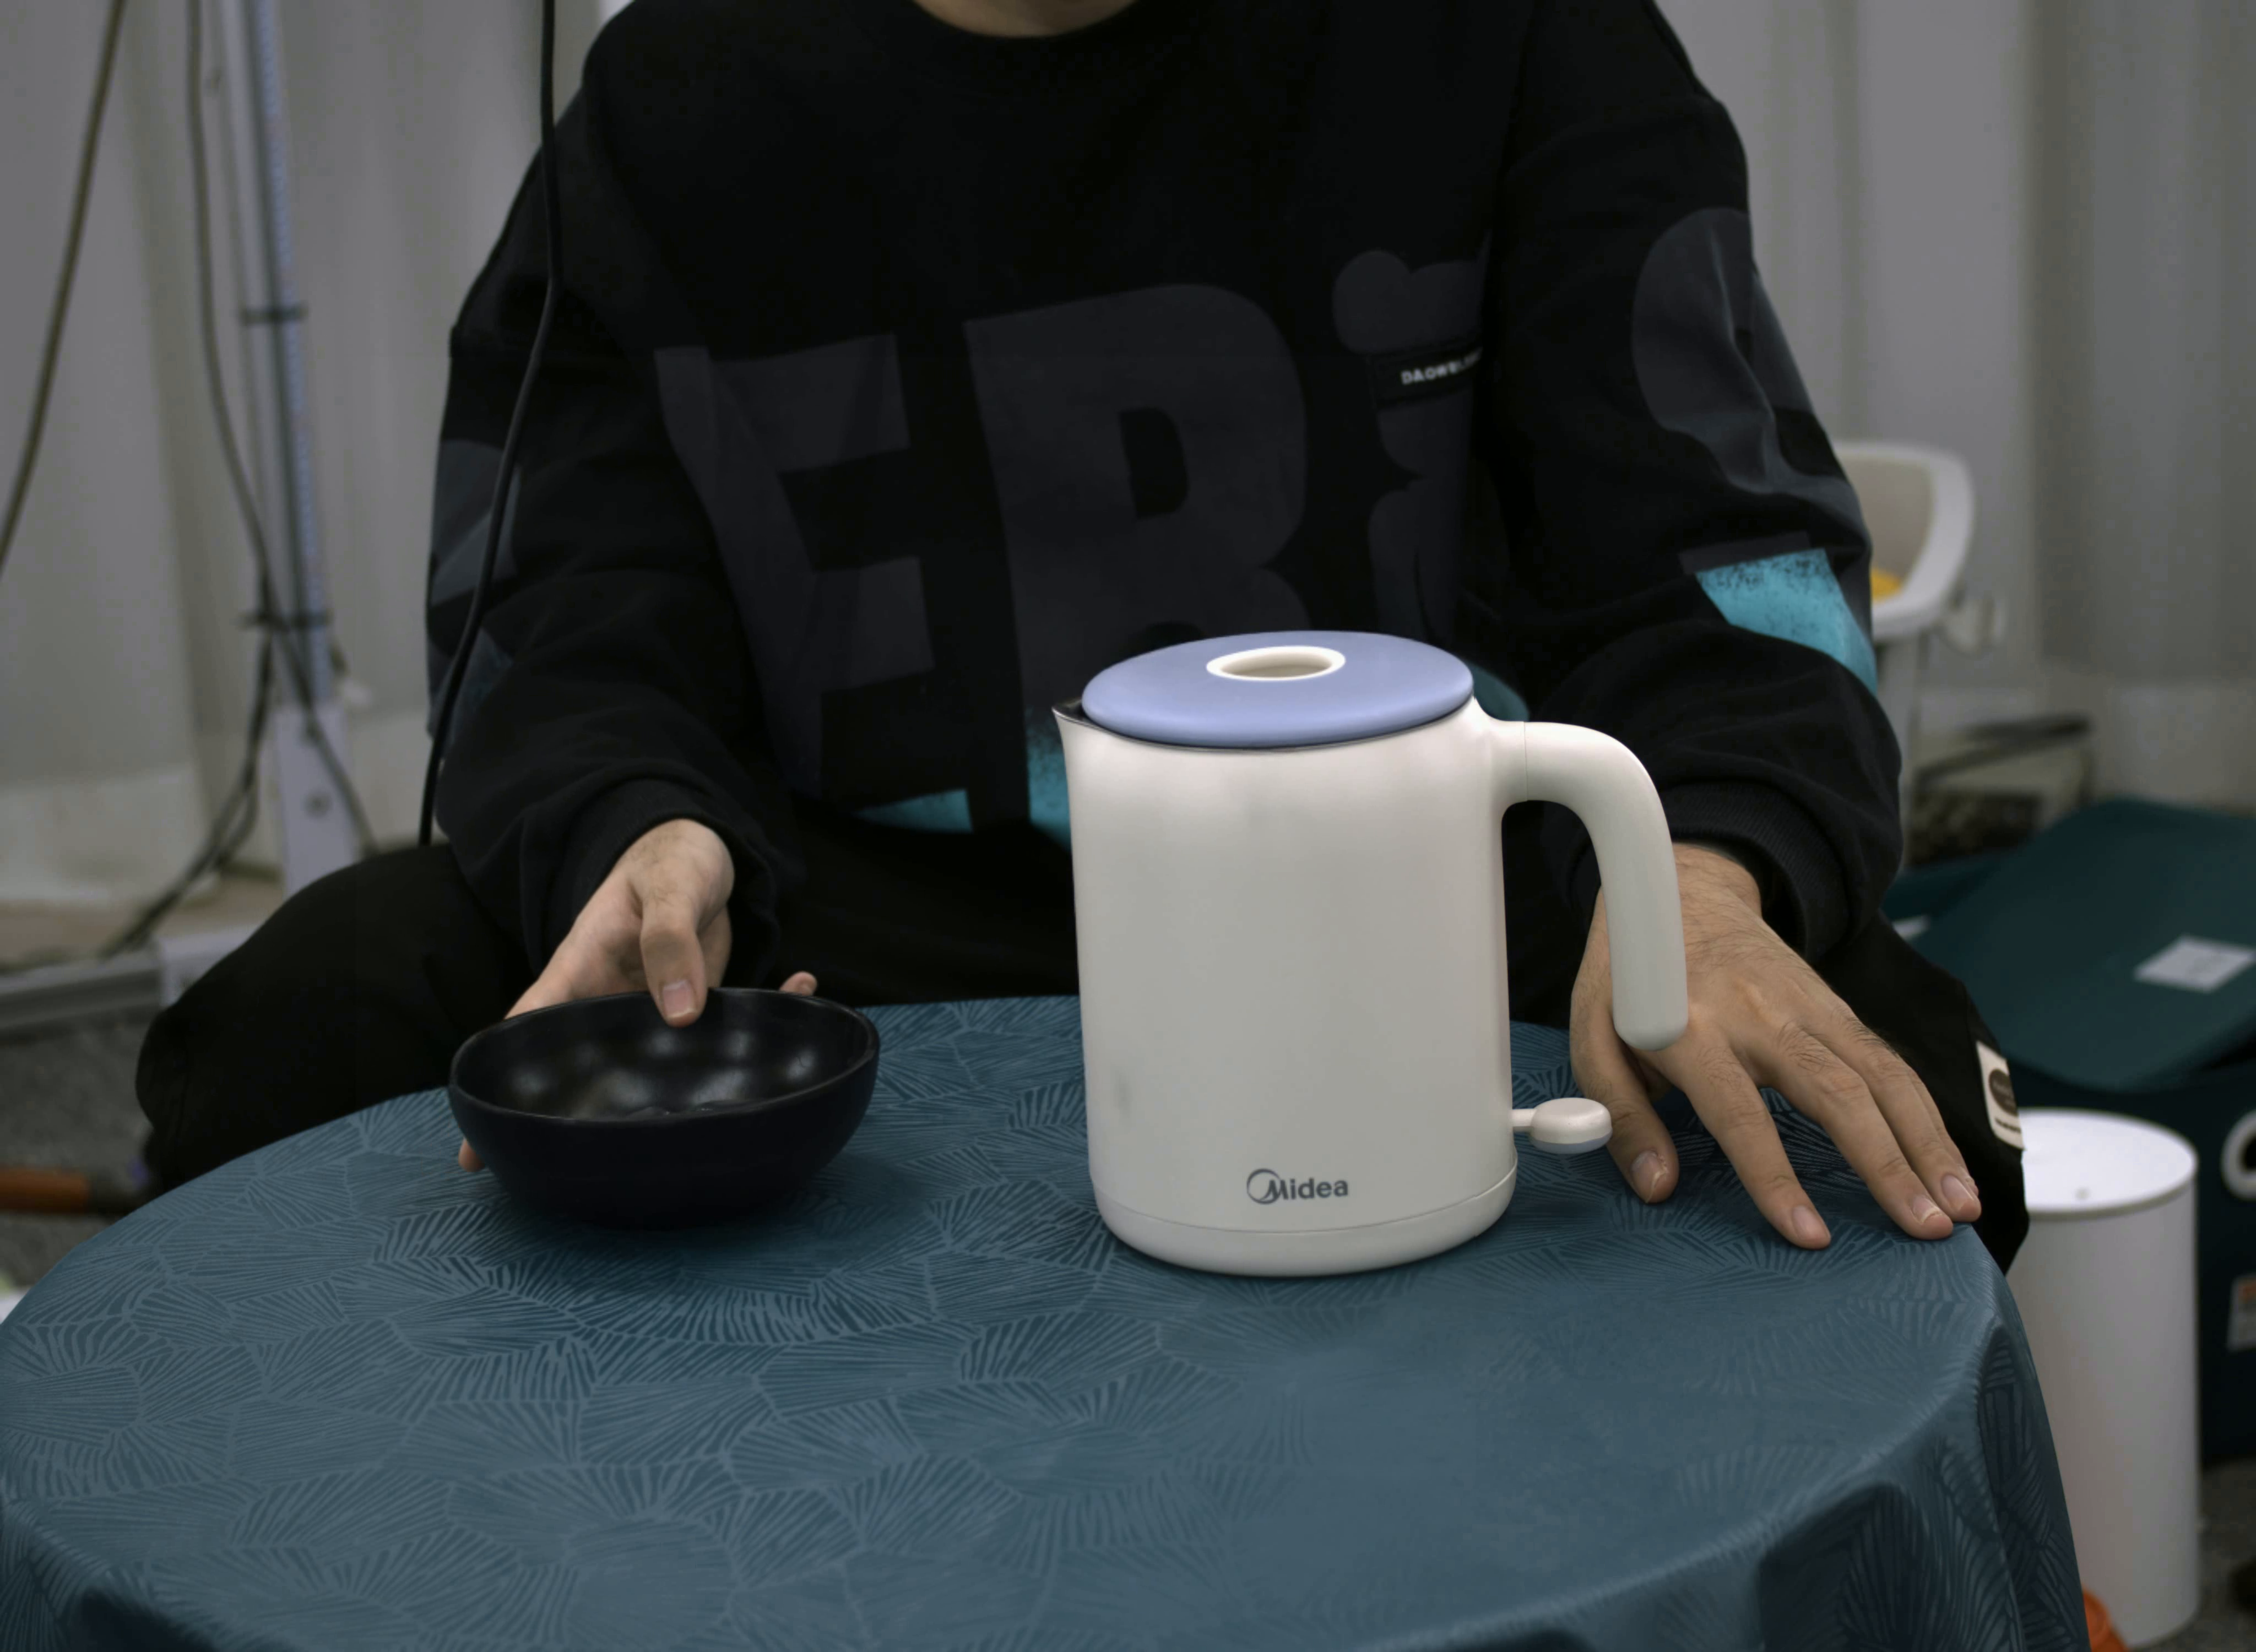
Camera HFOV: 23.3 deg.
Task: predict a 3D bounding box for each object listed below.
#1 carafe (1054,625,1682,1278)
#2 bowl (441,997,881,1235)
[{"bbox_3d":[0.073,0.037,1.663,0.190,0.182,0.133,0,15,1],"label":"carafe"},{"bbox_3d":[-0.146,0.096,1.725,0.139,0.049,0.141,-2,13,0],"label":"bowl"}]
